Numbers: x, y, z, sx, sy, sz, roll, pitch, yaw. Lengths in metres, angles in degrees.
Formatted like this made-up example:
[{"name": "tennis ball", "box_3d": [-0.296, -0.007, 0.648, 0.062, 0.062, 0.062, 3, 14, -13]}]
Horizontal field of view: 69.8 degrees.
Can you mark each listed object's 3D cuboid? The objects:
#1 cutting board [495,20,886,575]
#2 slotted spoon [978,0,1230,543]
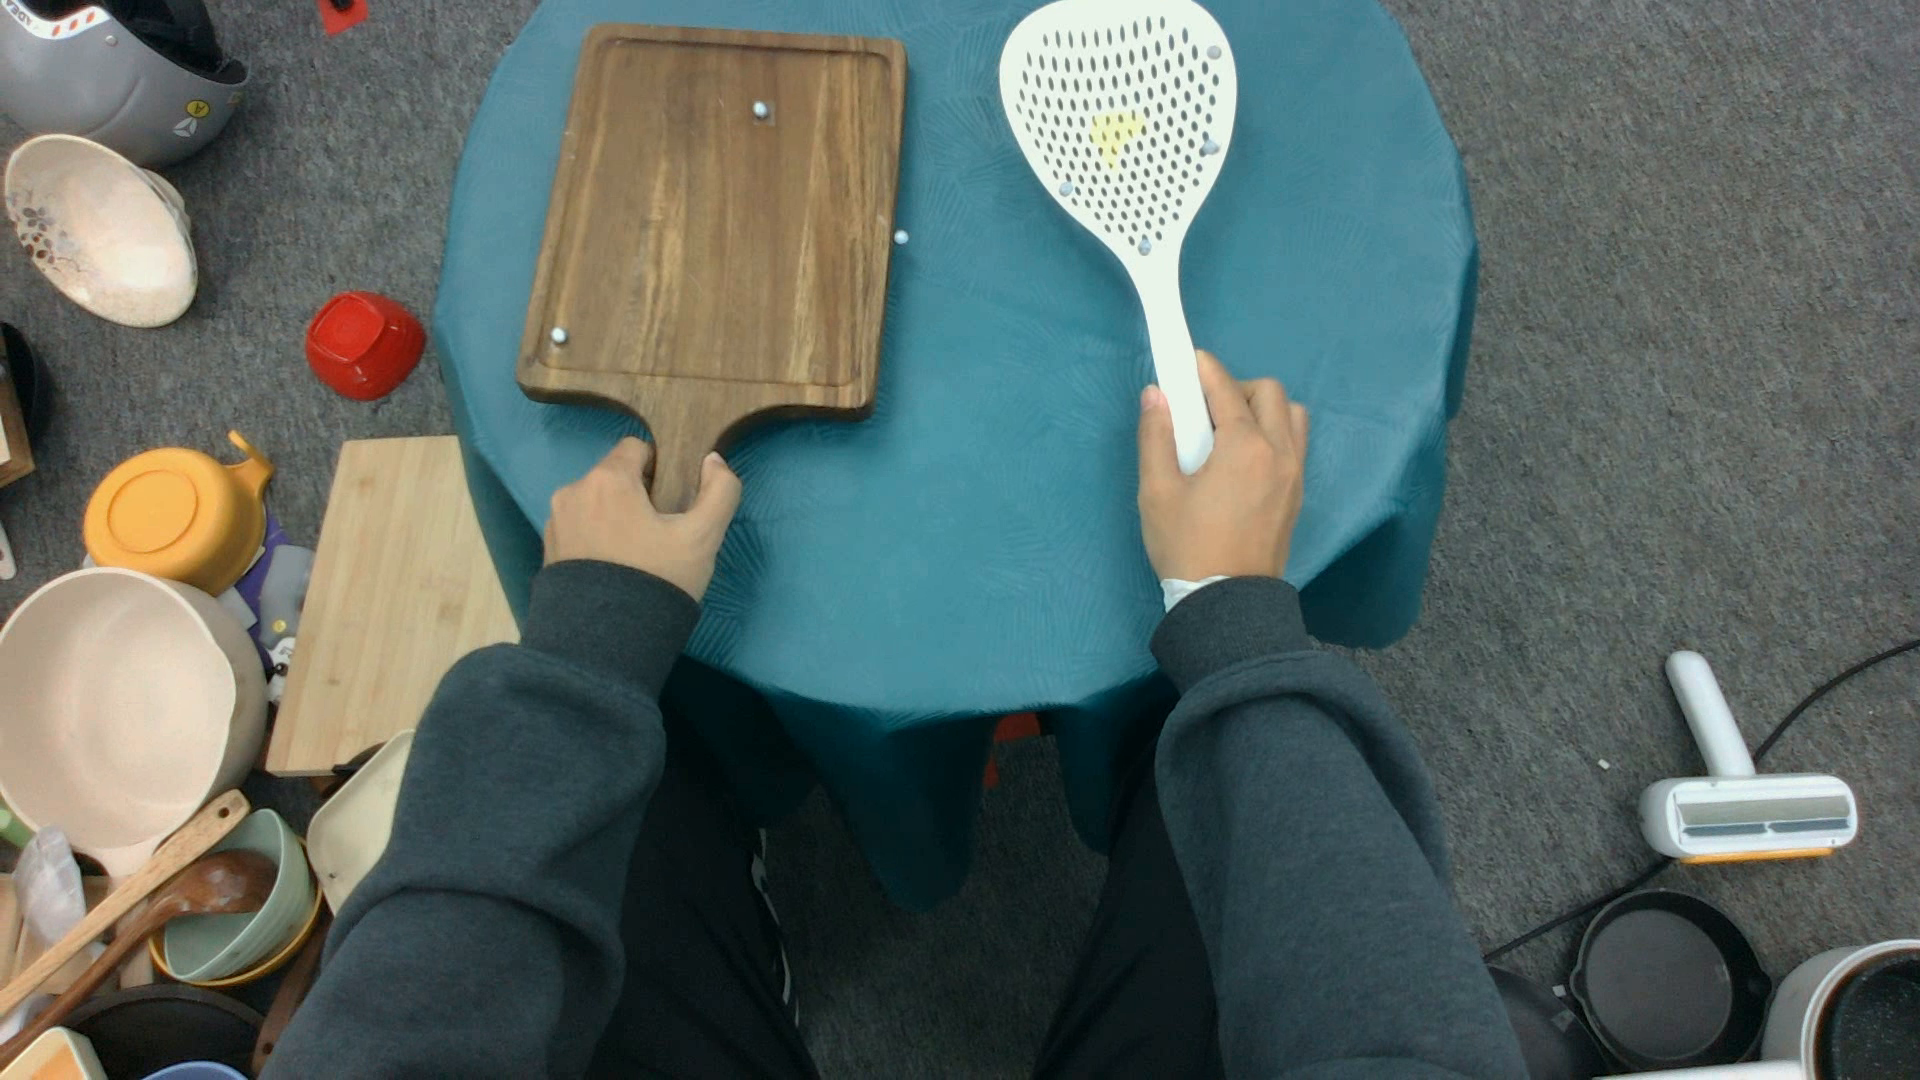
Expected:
[{"name": "cutting board", "box_3d": [-0.152, -0.148, 0.774, 0.201, 0.023, 0.353, 3, 68, 2]}, {"name": "slotted spoon", "box_3d": [0.098, -0.165, 0.770, 0.137, 0.050, 0.349, -10, 69, -3]}]
